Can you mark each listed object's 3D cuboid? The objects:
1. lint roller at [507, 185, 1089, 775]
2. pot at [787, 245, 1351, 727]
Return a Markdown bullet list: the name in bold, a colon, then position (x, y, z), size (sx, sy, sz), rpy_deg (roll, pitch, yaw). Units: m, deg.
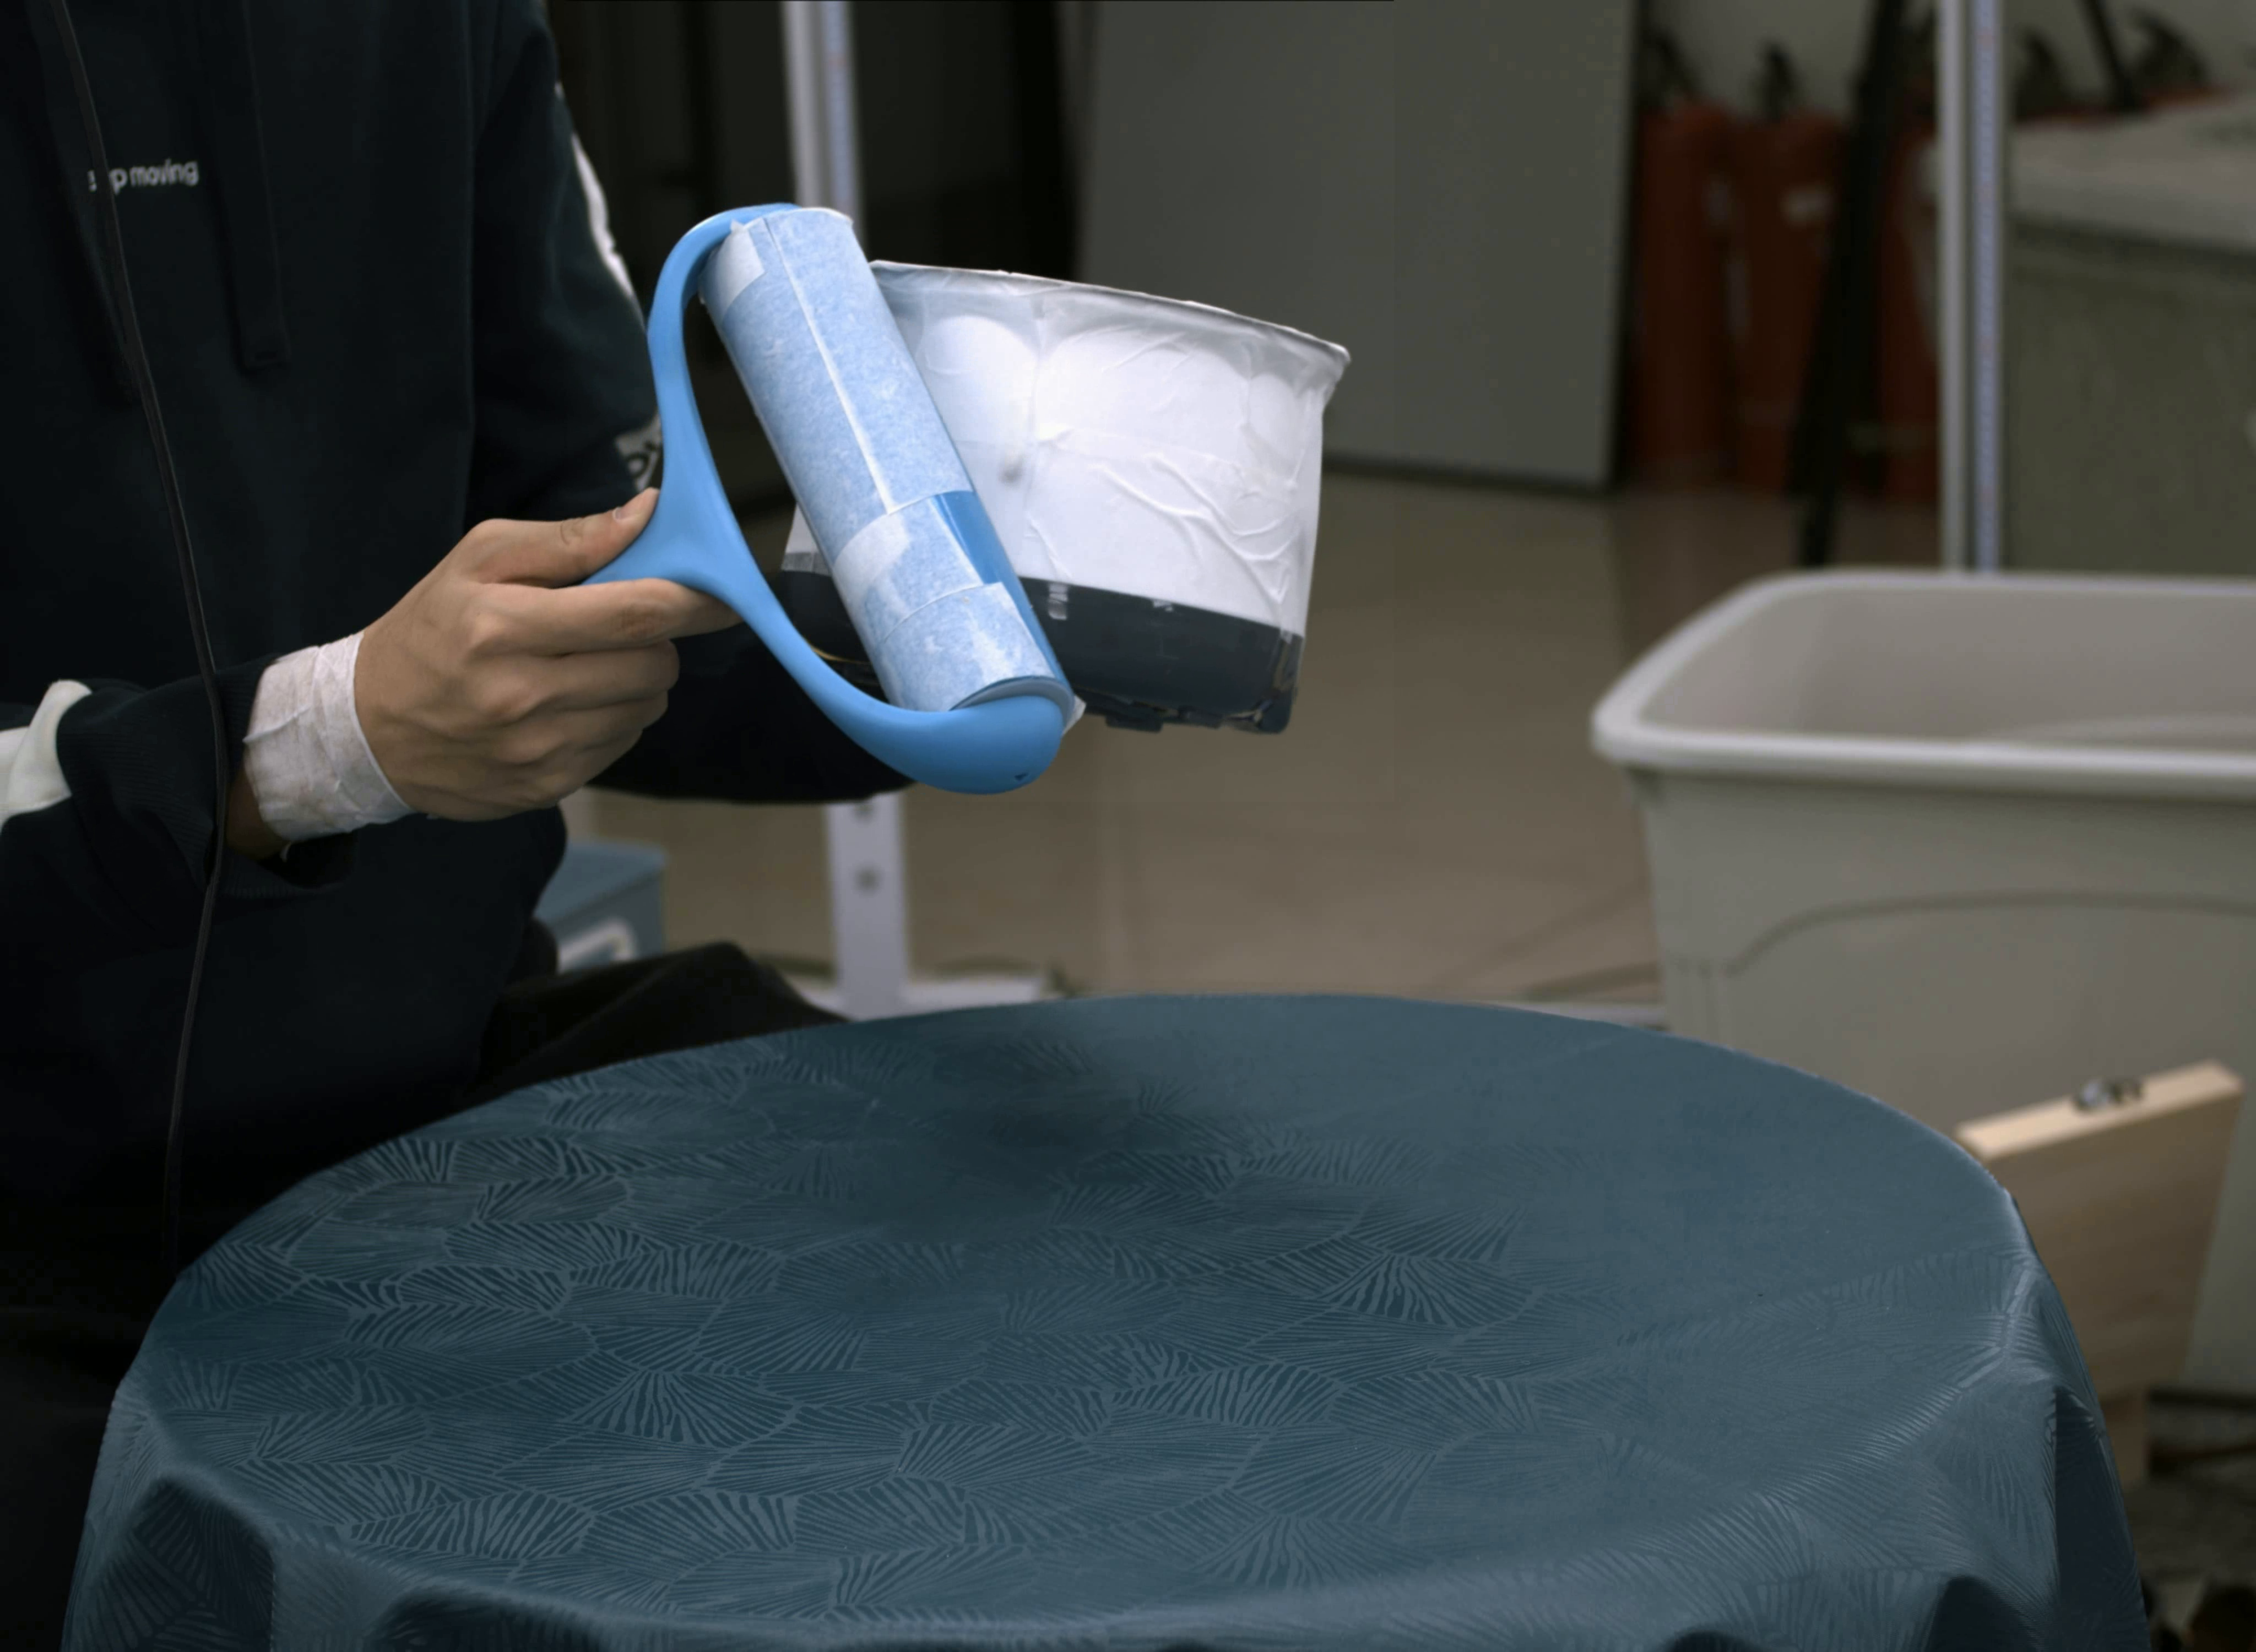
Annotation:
- **lint roller**: position (-0.125, -0.080, 1.703), size (0.179, 0.232, 0.067), rpy_deg (-32, -28, 3)
- **pot**: position (-0.028, -0.112, 1.827), size (0.175, 0.138, 0.235), rpy_deg (10, -1, -13)
